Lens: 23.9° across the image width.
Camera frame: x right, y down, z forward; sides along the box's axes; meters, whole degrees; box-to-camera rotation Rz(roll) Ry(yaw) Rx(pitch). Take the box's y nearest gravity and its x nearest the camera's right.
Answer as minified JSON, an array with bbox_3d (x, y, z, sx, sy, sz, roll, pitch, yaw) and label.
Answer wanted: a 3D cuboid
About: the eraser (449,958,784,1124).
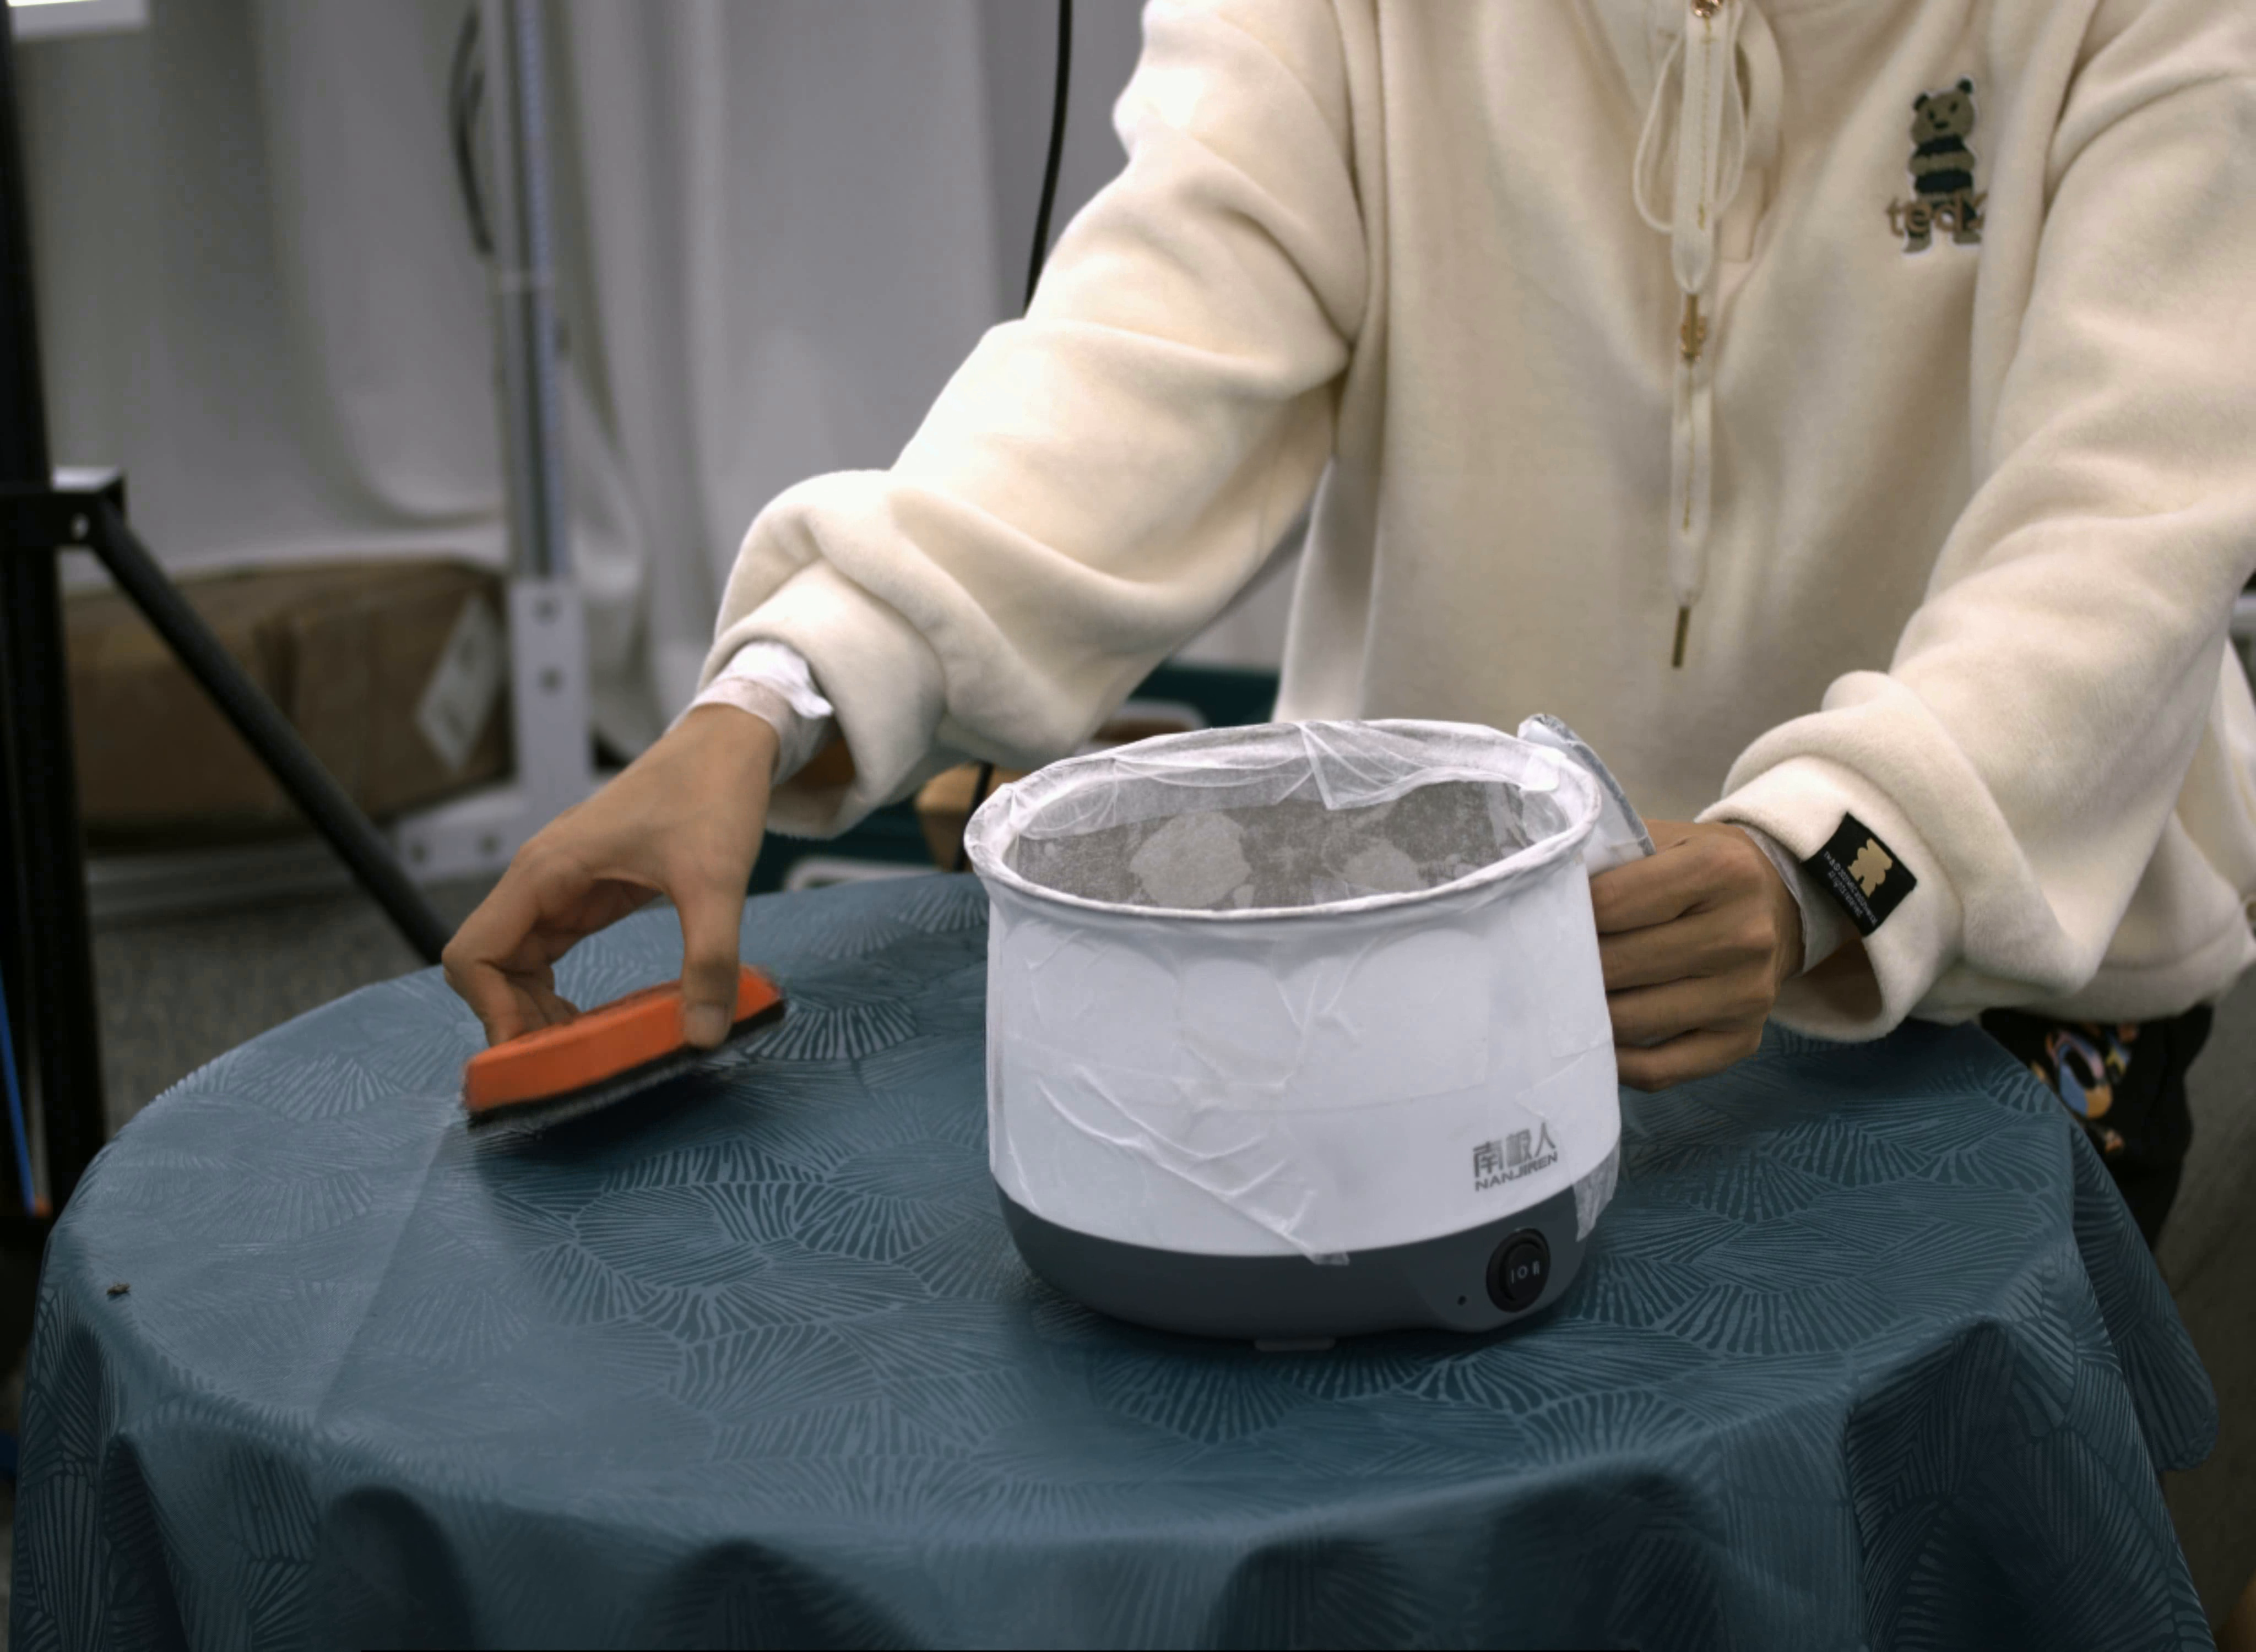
[{"bbox_3d":[-0.157,0.066,1.649,0.060,0.023,0.106,-11,5,34],"label":"eraser"}]

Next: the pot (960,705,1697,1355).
[{"bbox_3d":[0.068,0.049,1.489,0.228,0.136,0.183,-19,22,-37],"label":"pot"}]
